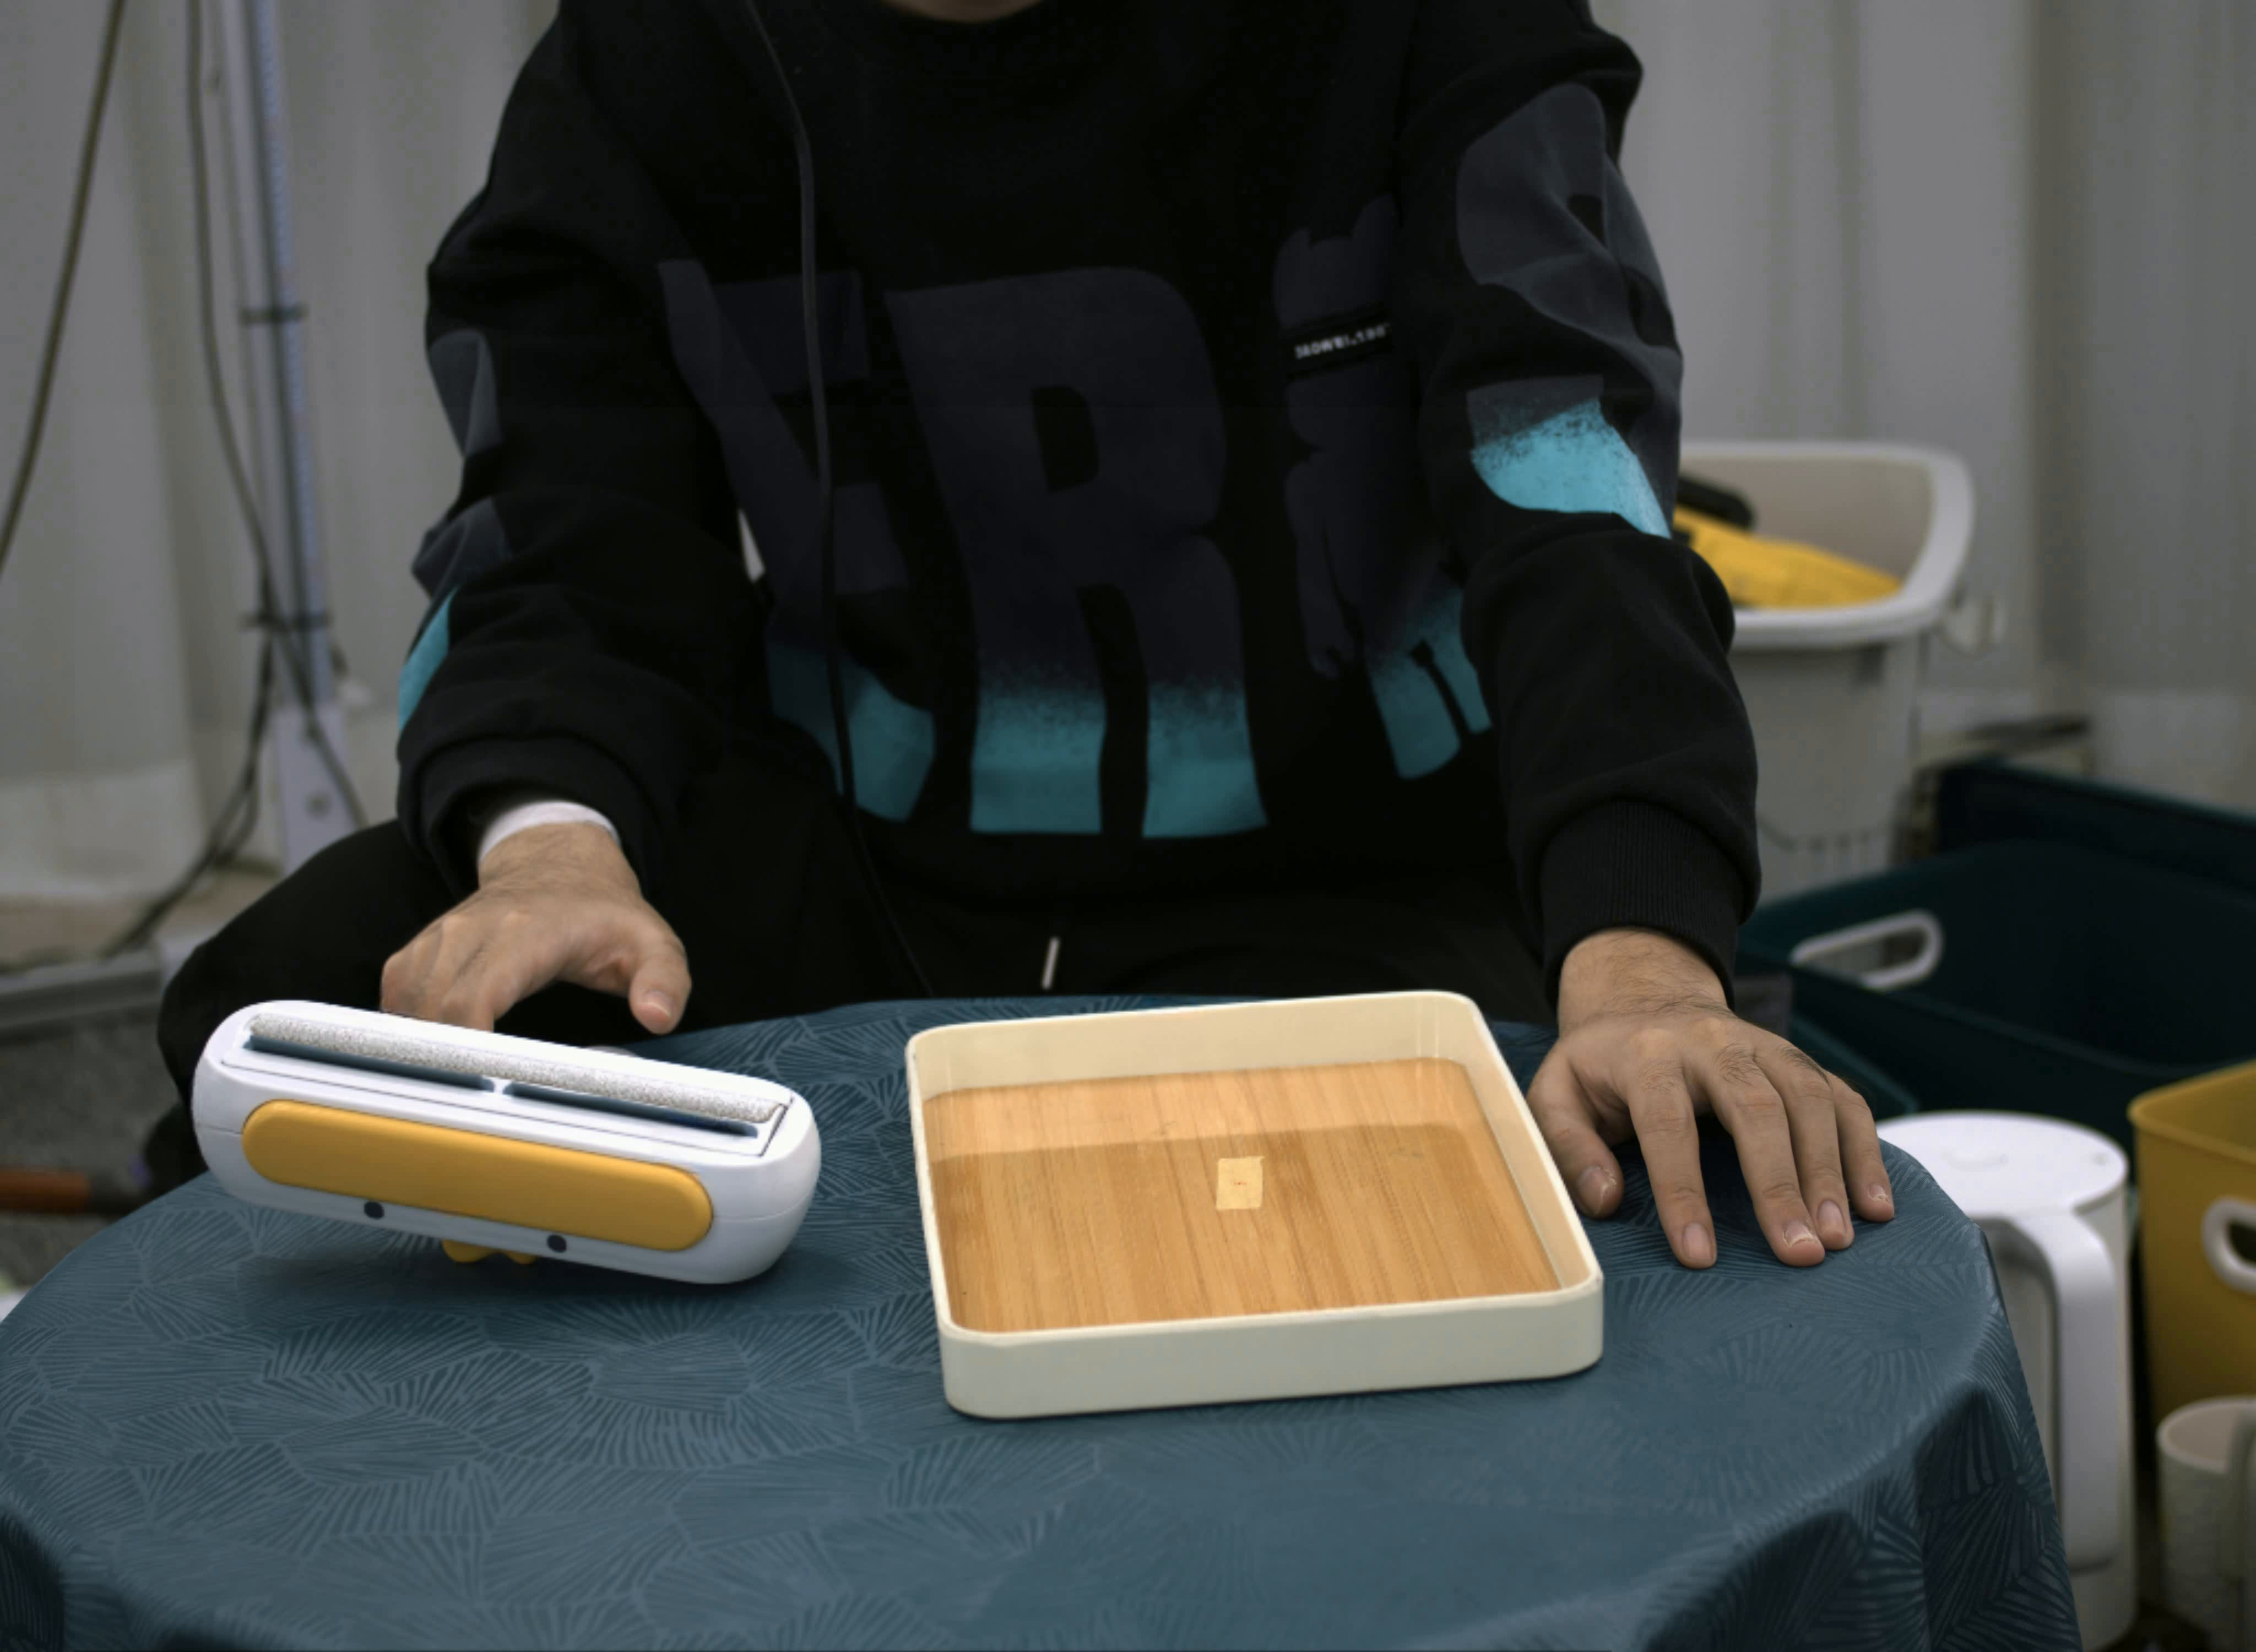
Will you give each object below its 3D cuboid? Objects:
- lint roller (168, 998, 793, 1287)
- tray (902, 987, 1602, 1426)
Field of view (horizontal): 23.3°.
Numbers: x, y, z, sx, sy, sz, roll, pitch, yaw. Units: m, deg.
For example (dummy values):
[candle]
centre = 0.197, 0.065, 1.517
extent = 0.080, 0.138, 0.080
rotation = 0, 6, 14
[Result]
[lint roller]
centre = -0.184, 0.088, 1.721
extent = 0.193, 0.074, 0.193
rotation = 6, 15, 12
[tray]
centre = 0.031, 0.111, 1.669
extent = 0.191, 0.027, 0.302
rotation = -5, 15, -3
